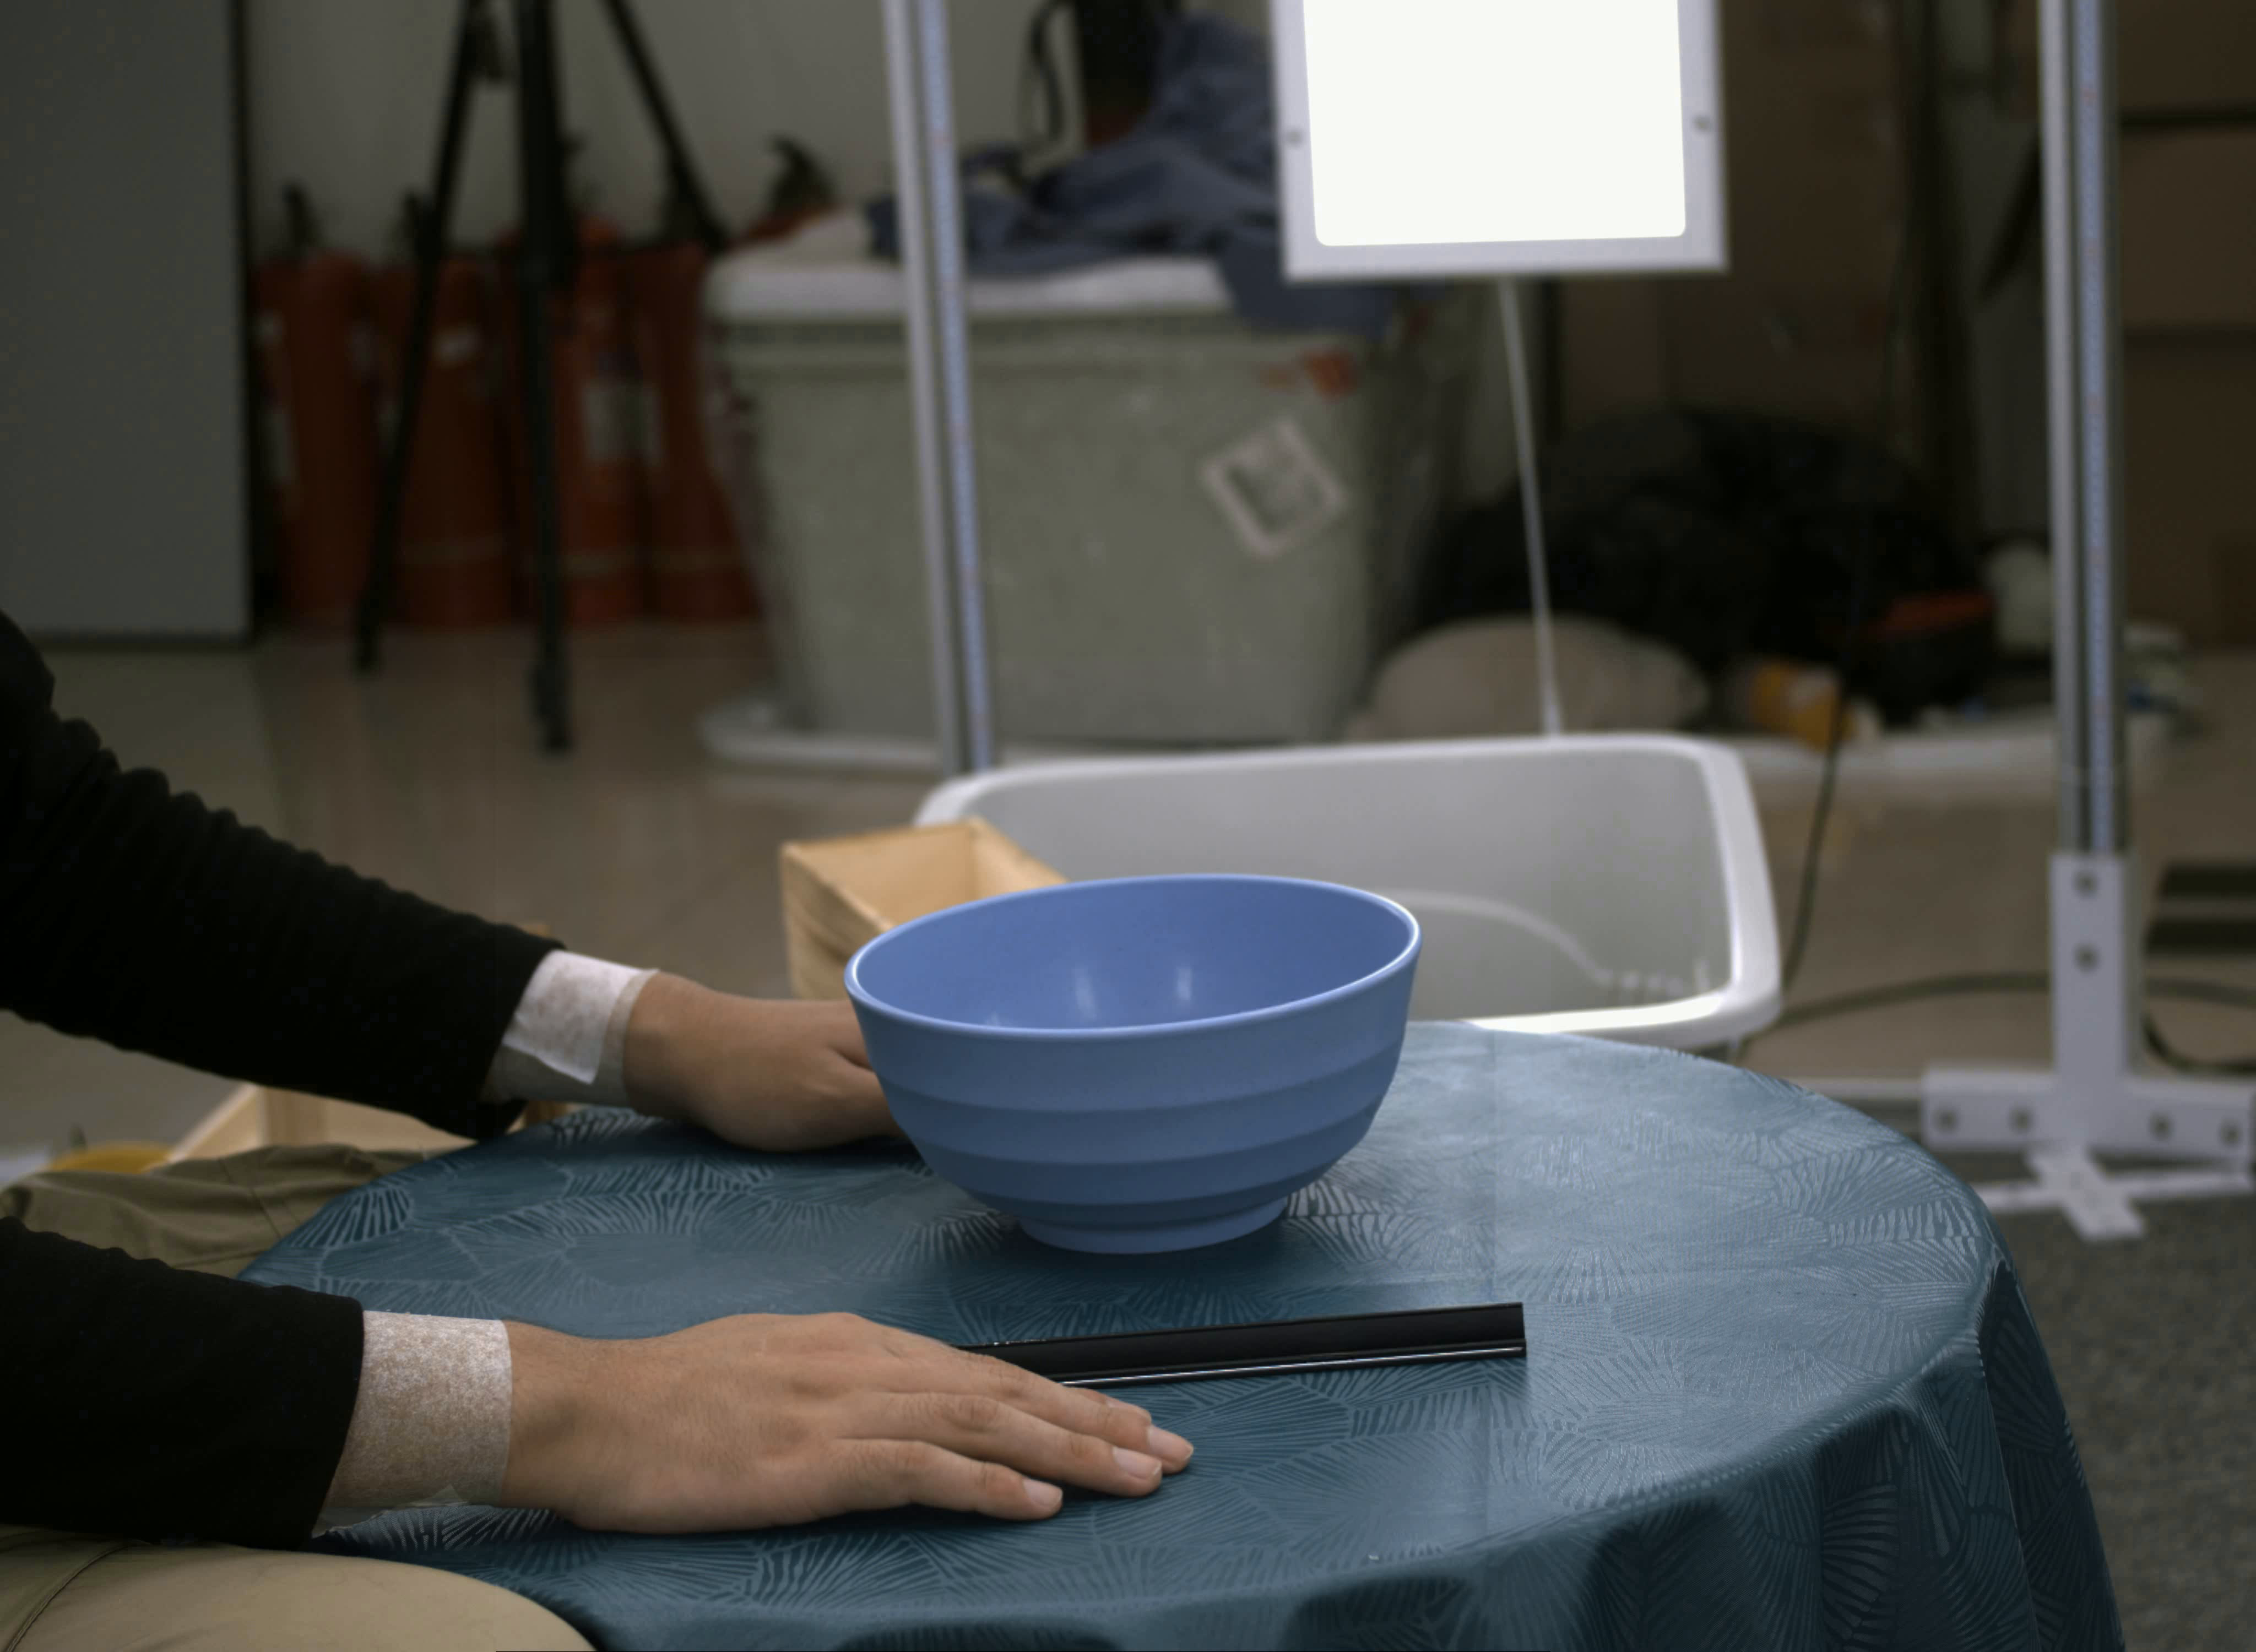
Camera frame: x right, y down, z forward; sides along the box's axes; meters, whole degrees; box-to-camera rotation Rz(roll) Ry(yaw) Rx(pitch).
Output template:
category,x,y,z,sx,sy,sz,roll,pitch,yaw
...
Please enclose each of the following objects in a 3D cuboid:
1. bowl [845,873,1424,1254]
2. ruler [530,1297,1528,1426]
category,x,y,z,sx,sy,sz,roll,pitch,yaw
bowl,0.005,0.086,1.862,0.196,0.096,0.196,-4,13,0
ruler,-0.031,0.164,1.724,0.312,0.017,0.039,-5,8,3
